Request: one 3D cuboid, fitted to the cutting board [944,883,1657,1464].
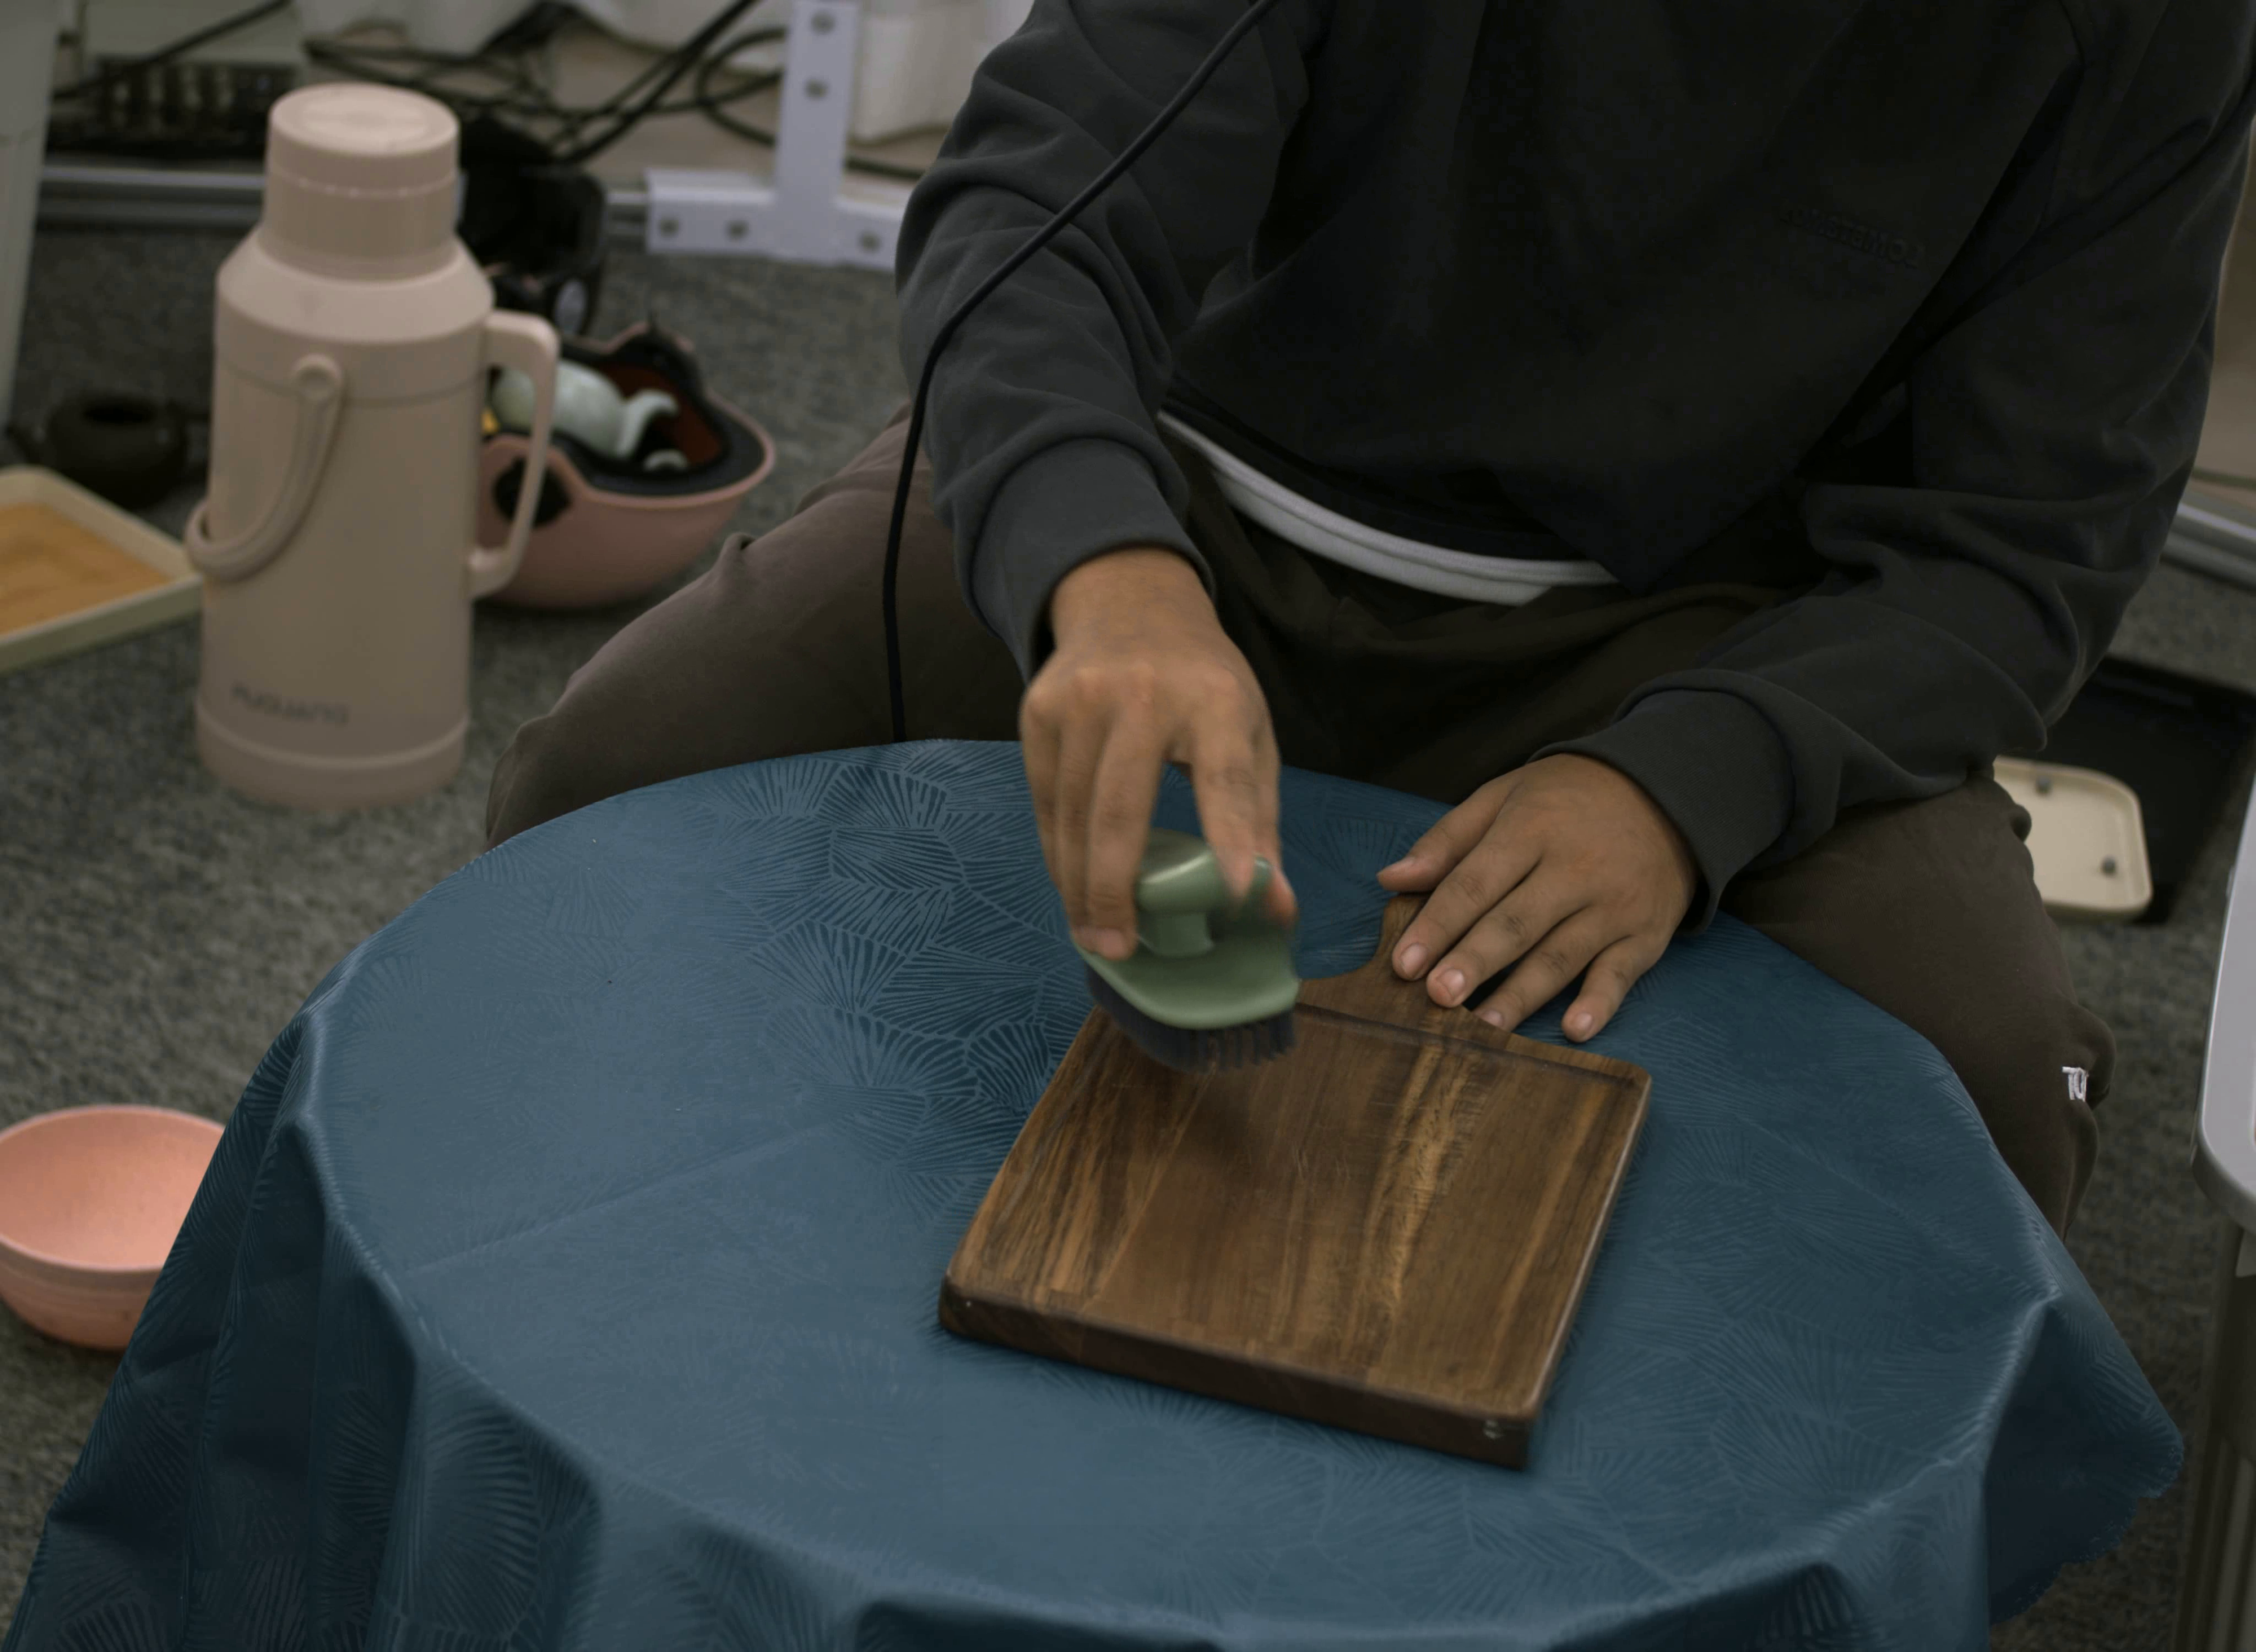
[{"bbox_3d":[0.076,0.103,1.842,0.201,0.023,0.353,13,27,11],"label":"cutting board"}]

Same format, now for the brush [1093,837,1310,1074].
[{"bbox_3d":[0.025,0.042,1.825,0.059,0.076,0.123,-9,5,-14],"label":"brush"}]
